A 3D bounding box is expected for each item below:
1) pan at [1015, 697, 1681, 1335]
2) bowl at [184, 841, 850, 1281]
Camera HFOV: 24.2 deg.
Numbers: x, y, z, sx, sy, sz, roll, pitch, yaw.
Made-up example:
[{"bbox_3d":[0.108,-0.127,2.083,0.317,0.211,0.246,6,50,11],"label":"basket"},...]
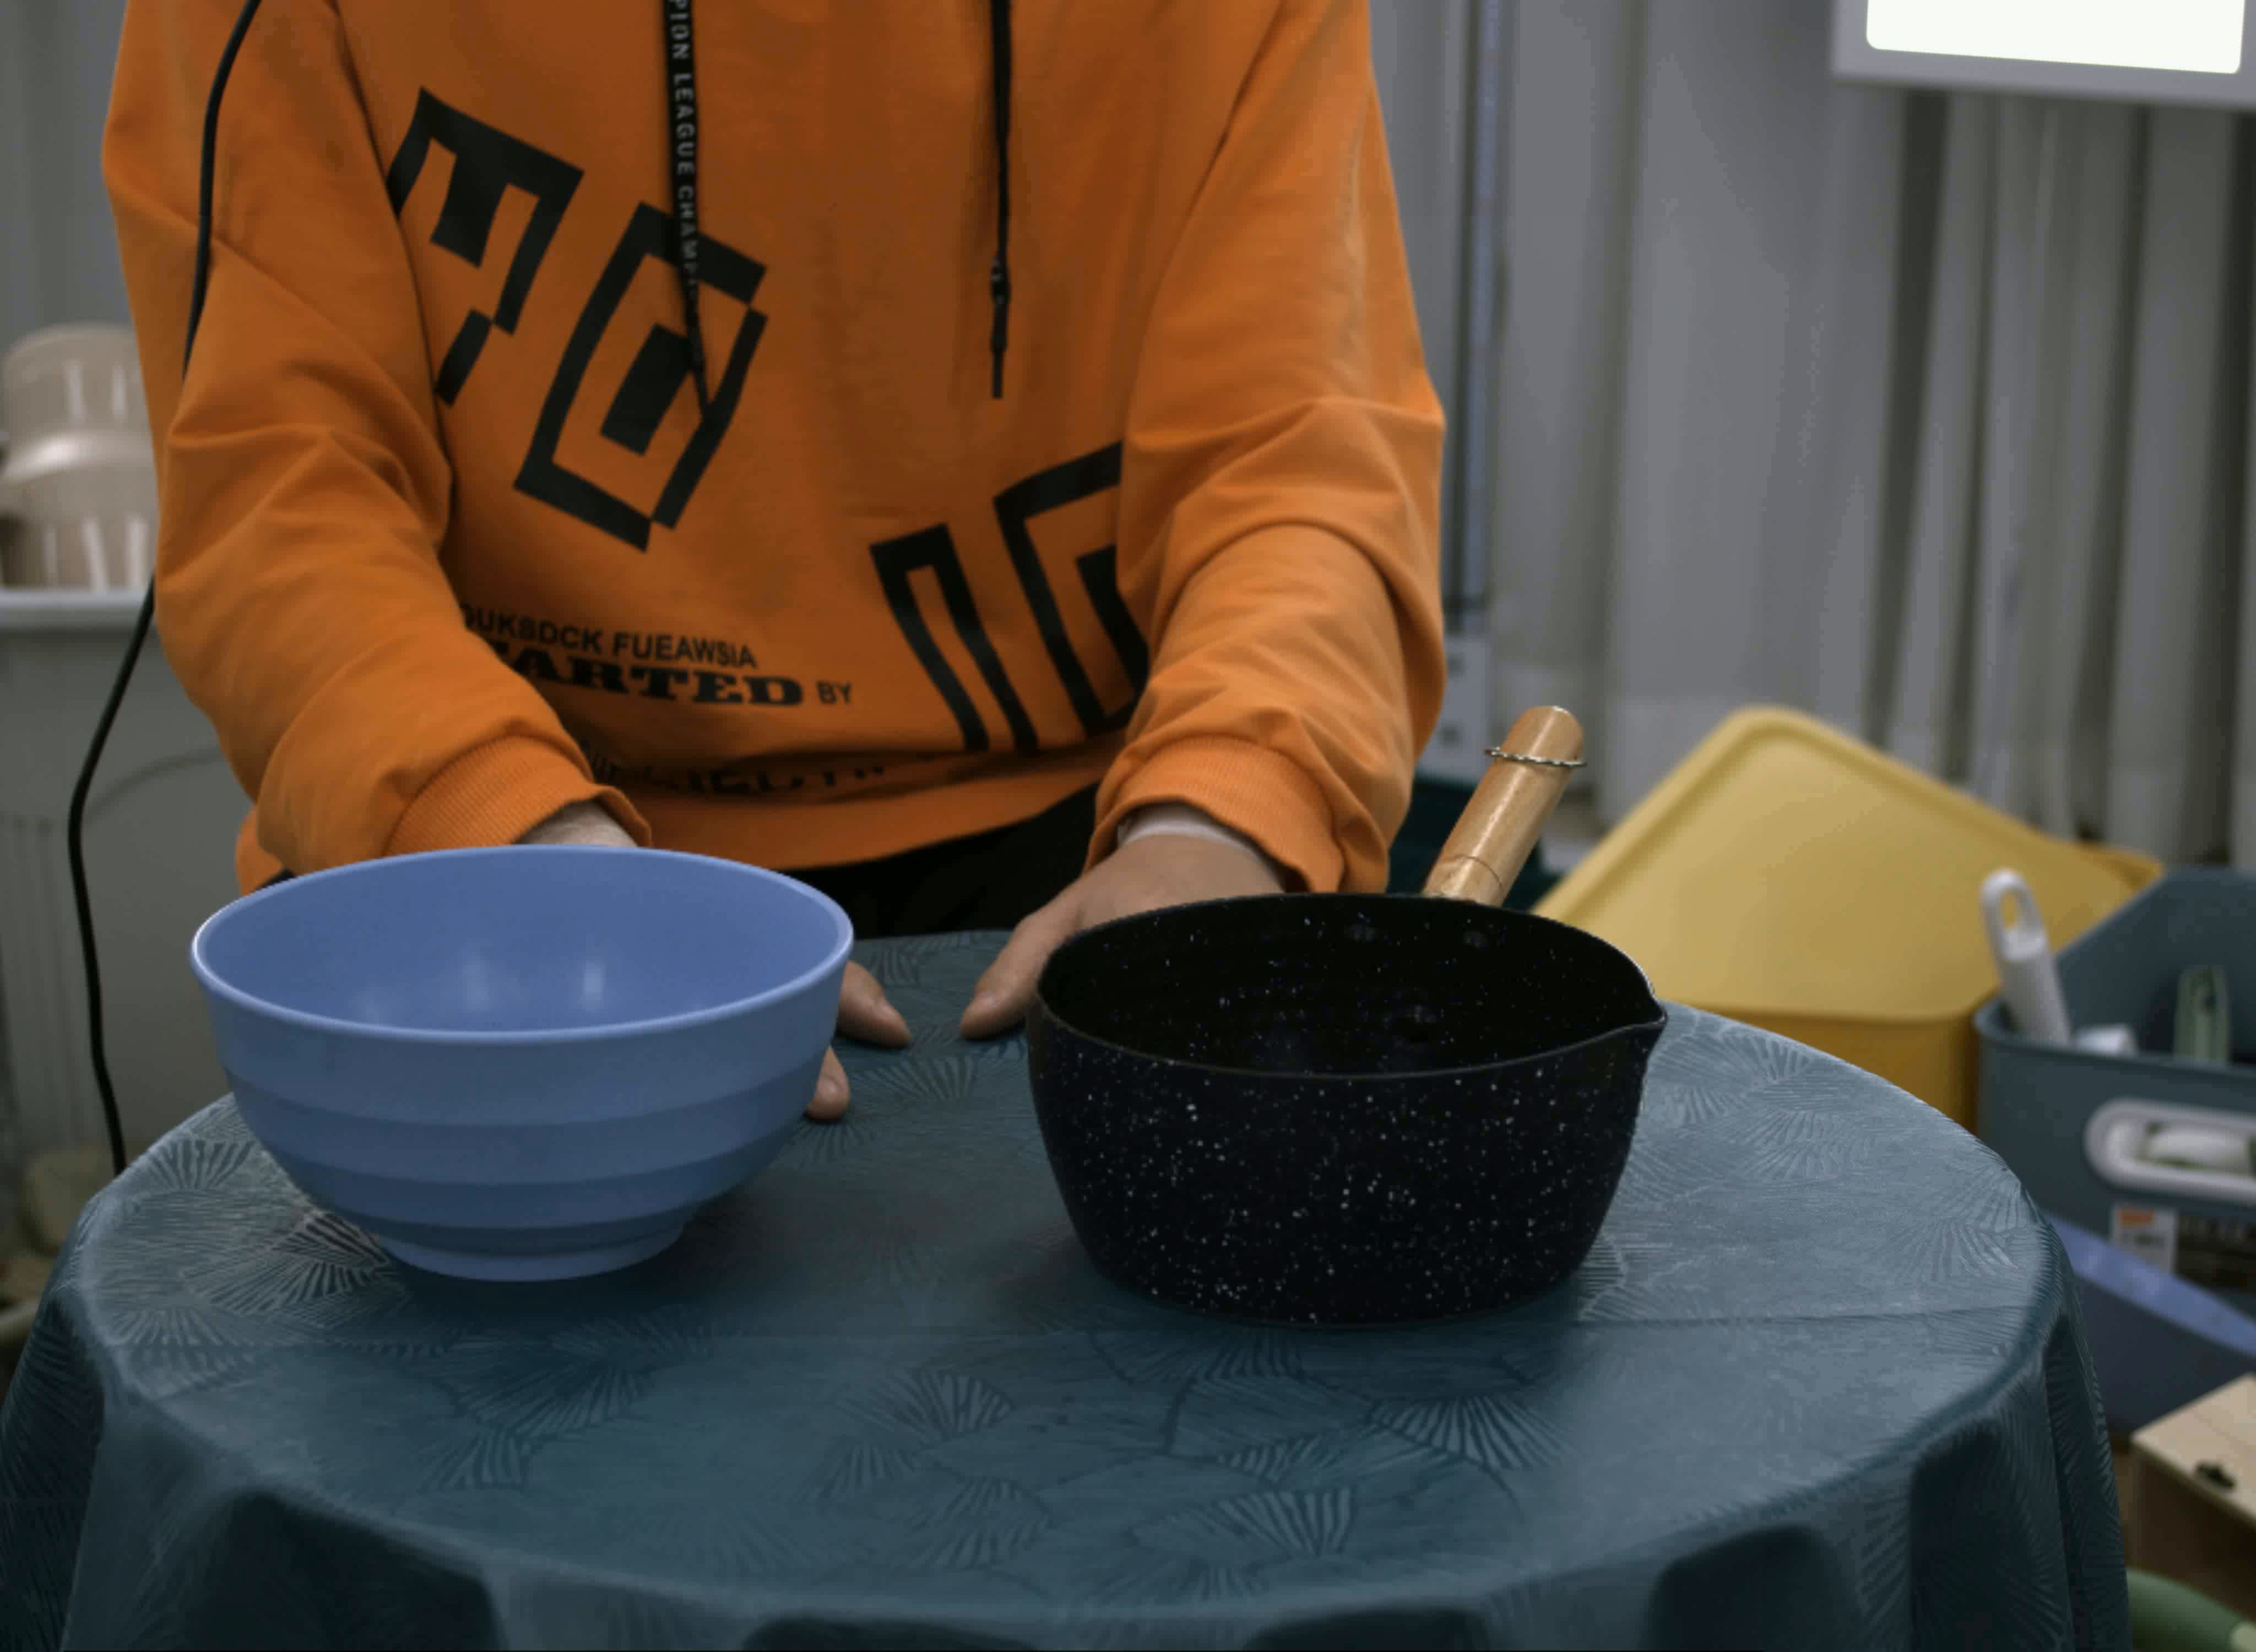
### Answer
[{"bbox_3d":[0.086,0.053,1.634,0.205,0.109,0.343,4,17,17],"label":"pan"},{"bbox_3d":[-0.179,0.075,1.570,0.196,0.096,0.195,0,17,1],"label":"bowl"}]
